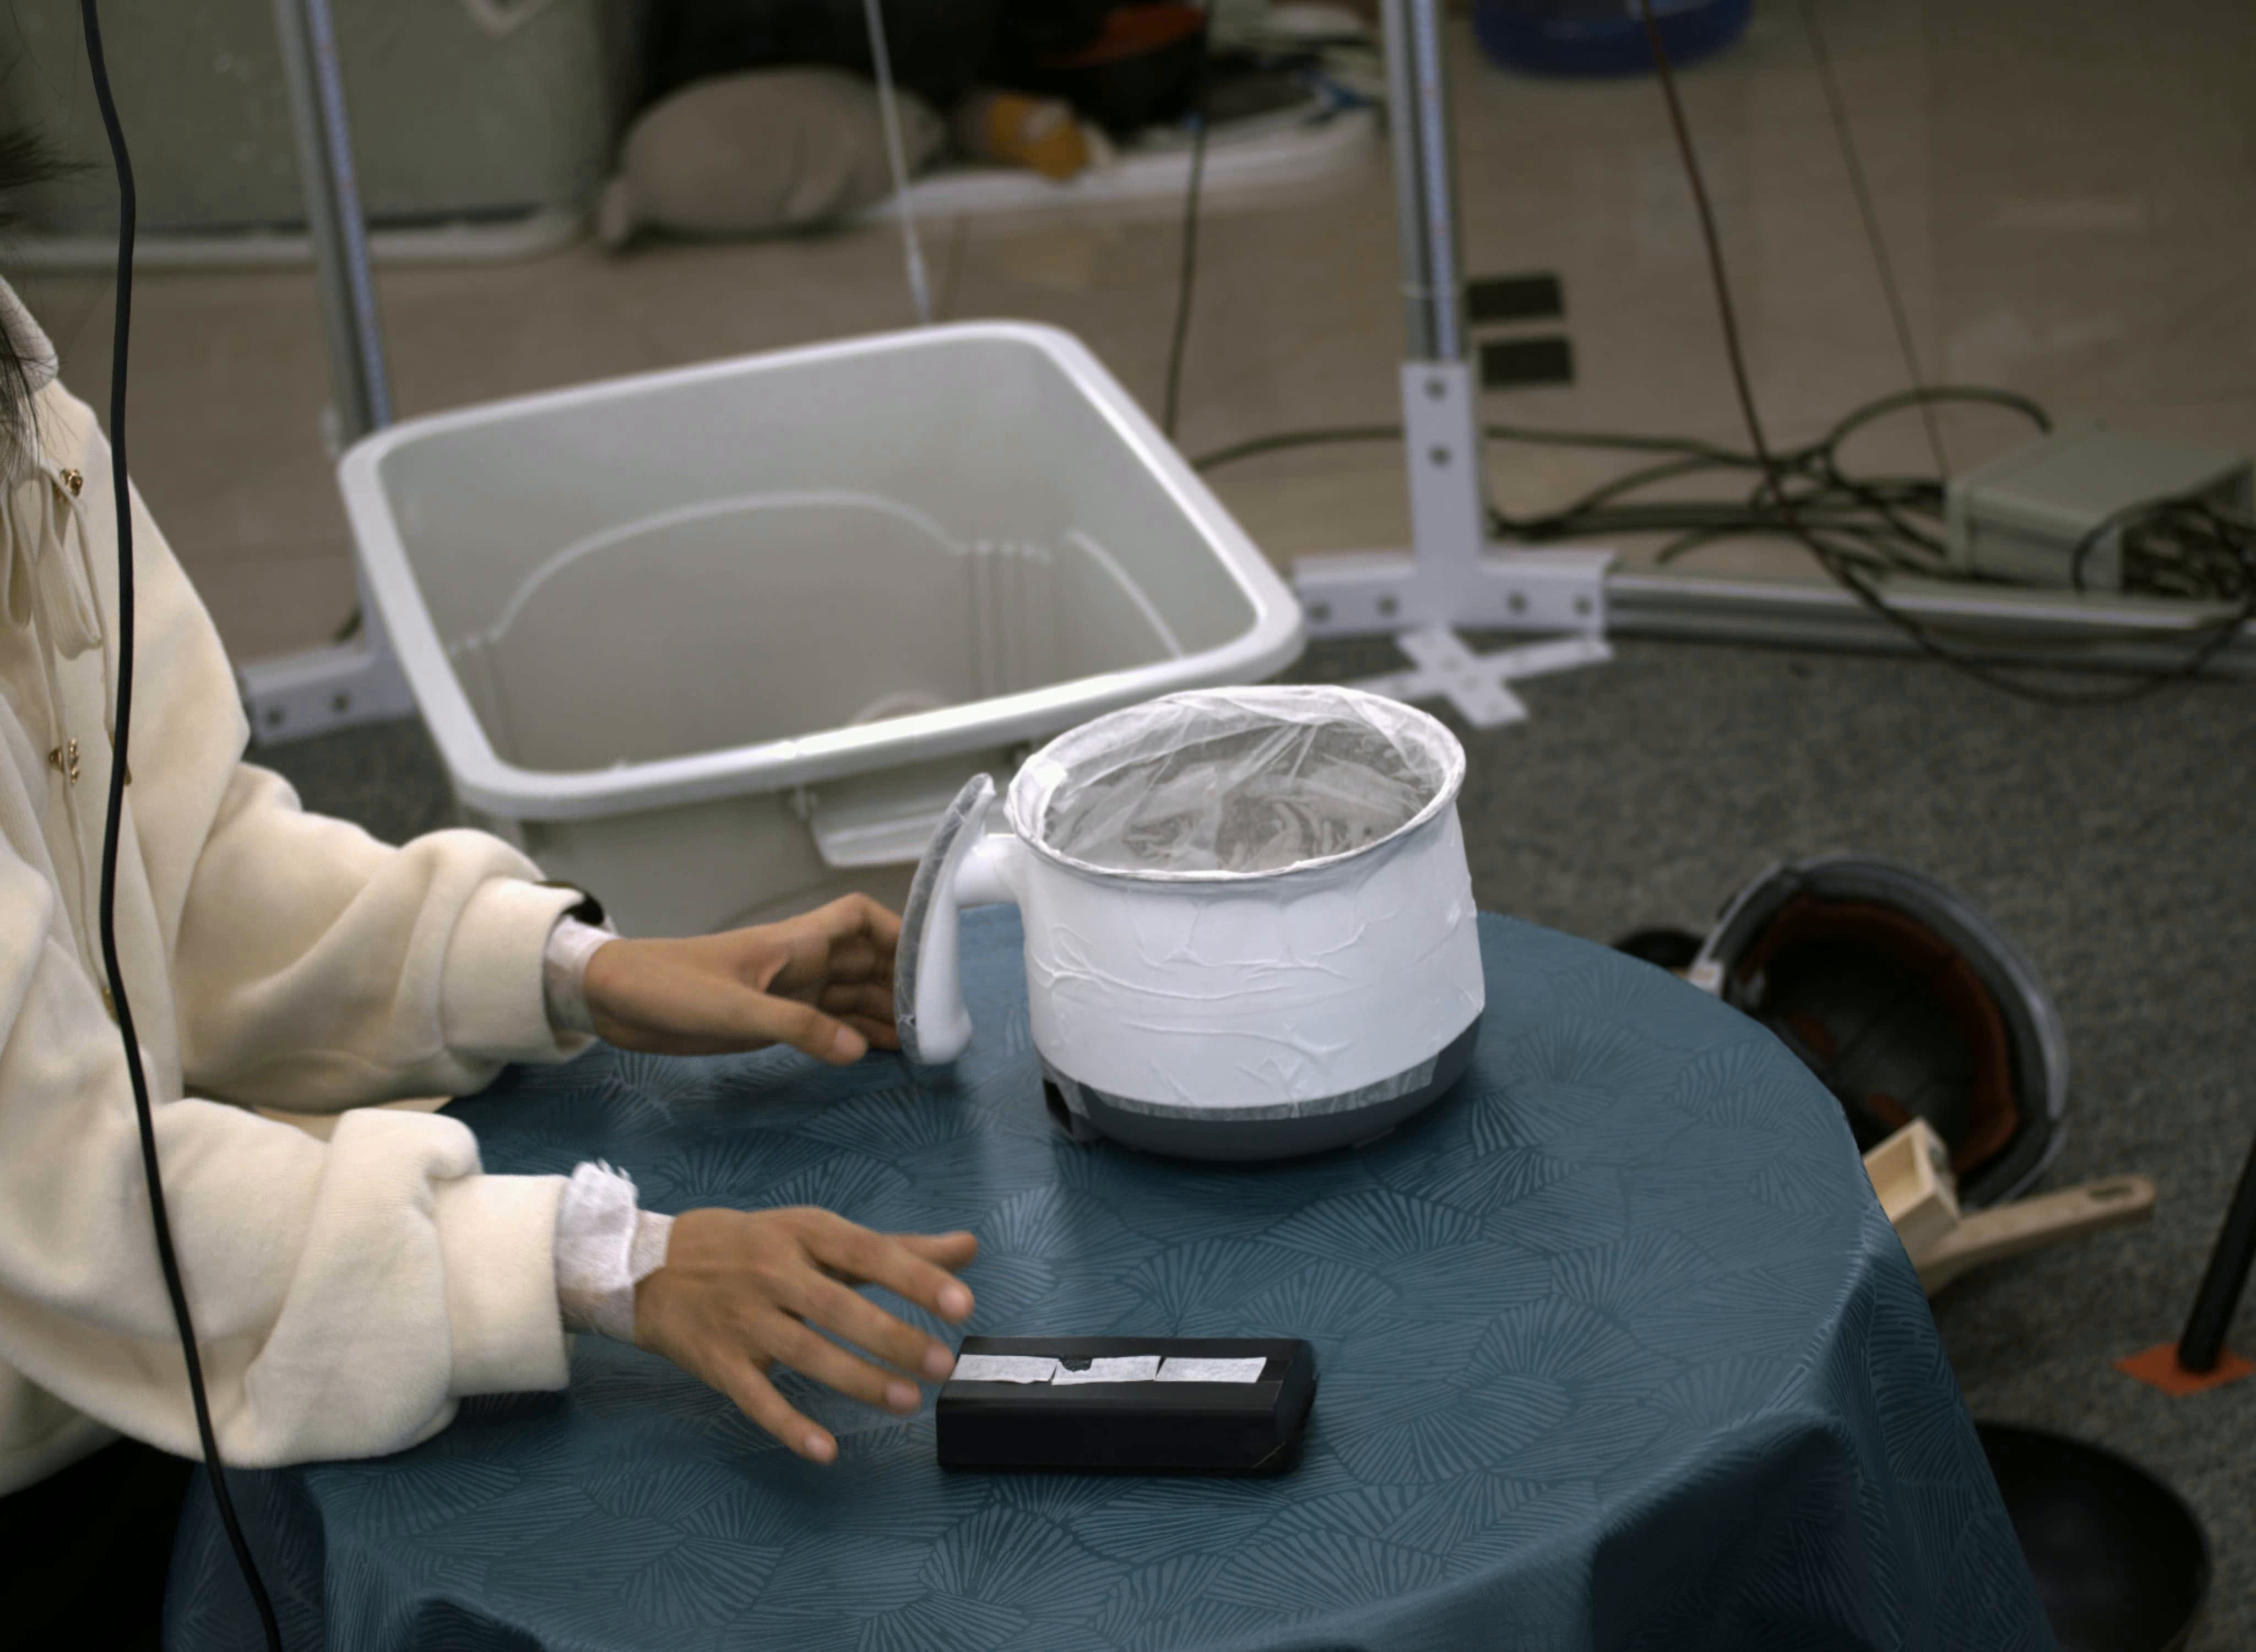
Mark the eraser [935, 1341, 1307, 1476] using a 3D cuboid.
[{"bbox_3d":[-0.001,0.202,1.980,0.125,0.031,0.053,-1,25,14],"label":"eraser"}]

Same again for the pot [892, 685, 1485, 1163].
[{"bbox_3d":[0.020,0.040,2.189,0.233,0.139,0.176,-1,26,9],"label":"pot"}]
